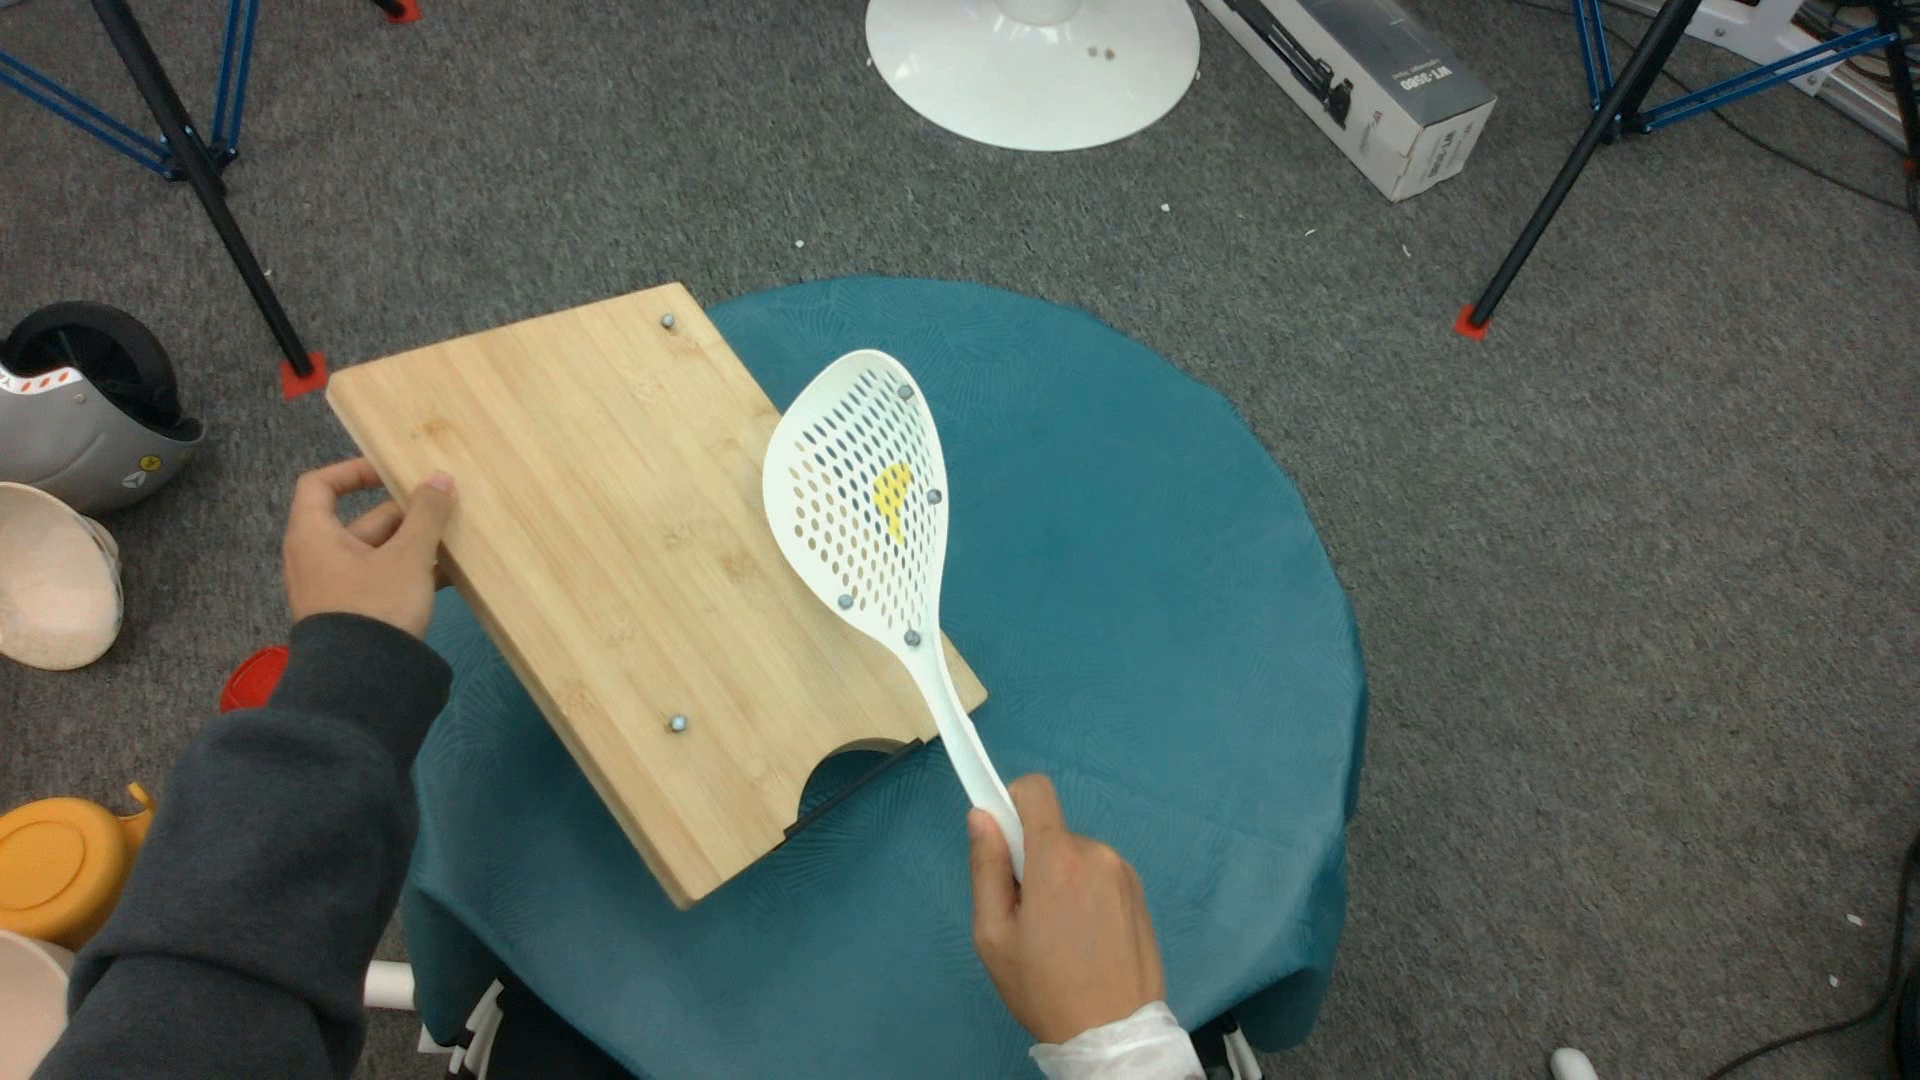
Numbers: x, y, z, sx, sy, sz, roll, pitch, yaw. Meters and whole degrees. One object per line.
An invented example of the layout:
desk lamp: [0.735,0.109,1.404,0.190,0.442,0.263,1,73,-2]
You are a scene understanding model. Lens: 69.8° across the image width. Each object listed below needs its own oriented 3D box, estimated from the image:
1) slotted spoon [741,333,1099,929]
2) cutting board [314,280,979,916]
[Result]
slotted spoon: [-0.020,0.045,0.724,0.050,0.136,0.349,14,44,-49]
cutting board: [-0.168,0.007,0.793,0.349,0.023,0.252,52,44,8]
